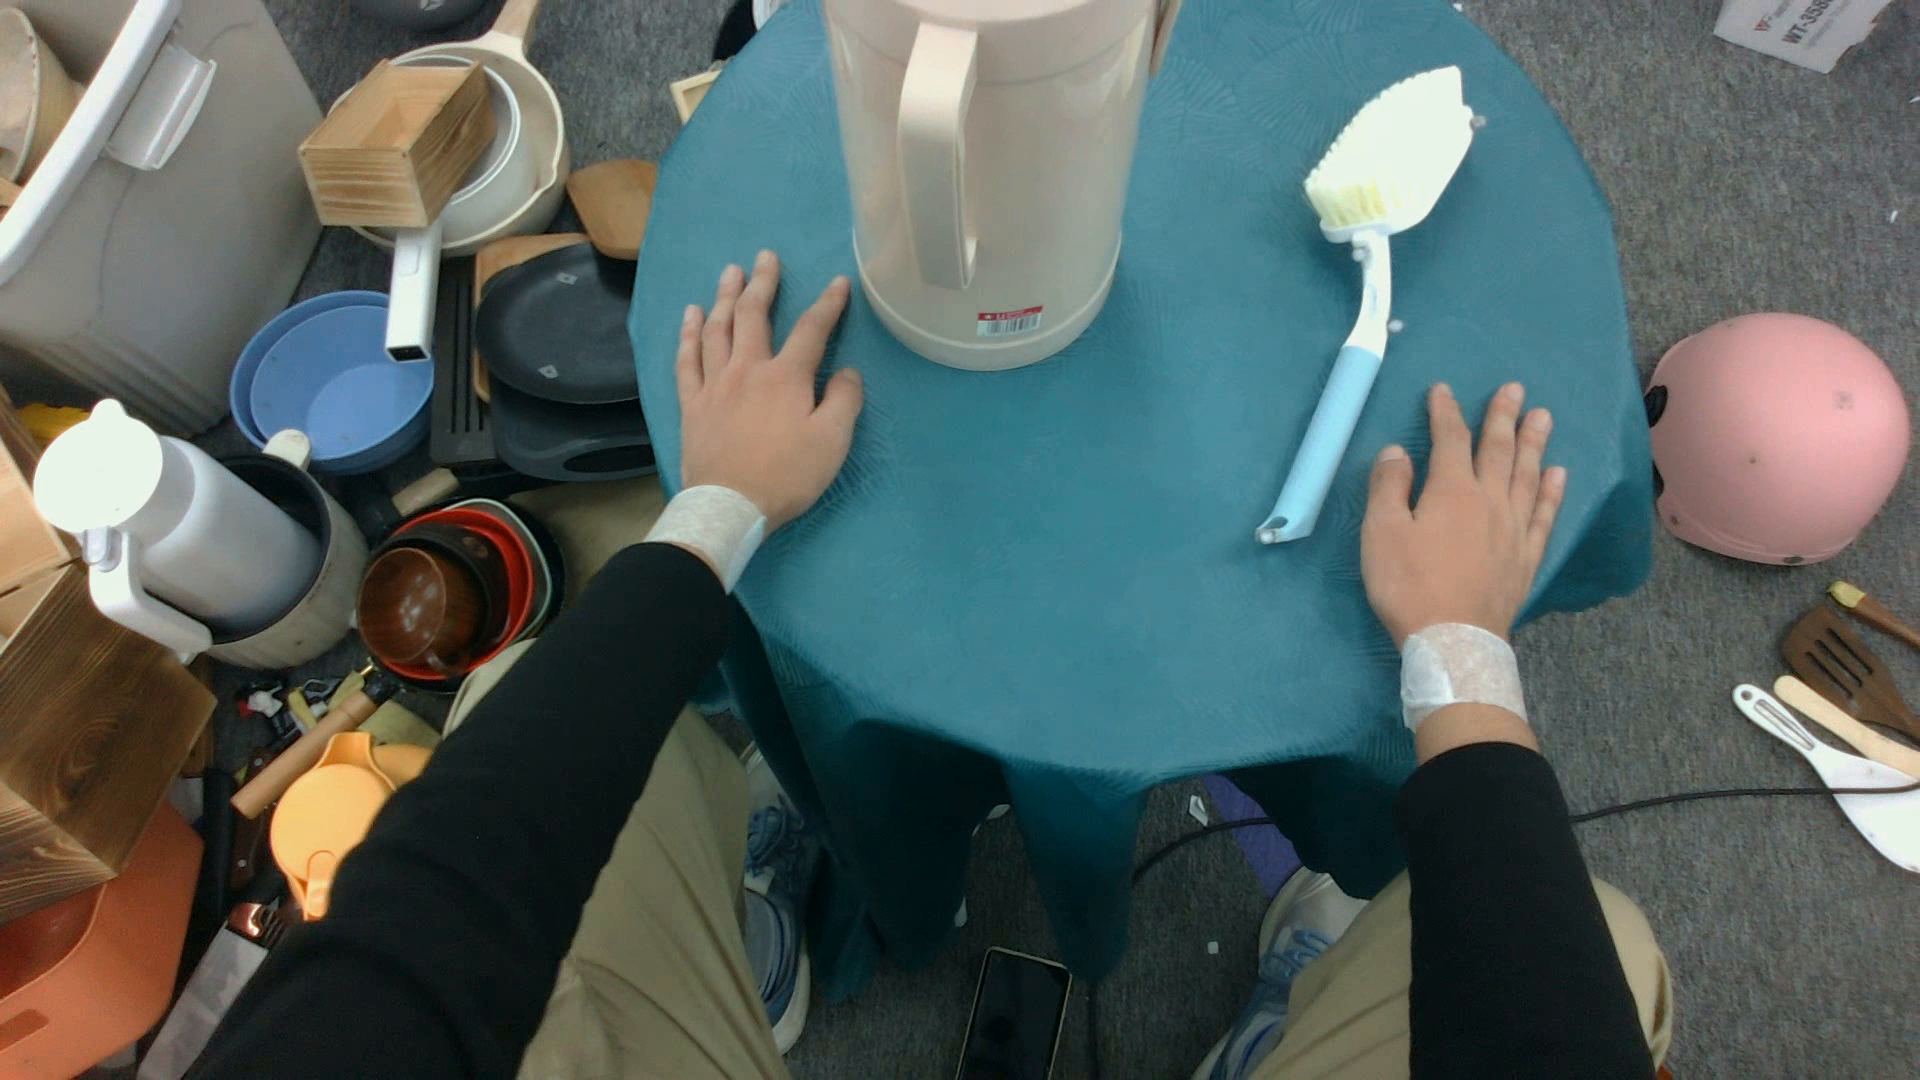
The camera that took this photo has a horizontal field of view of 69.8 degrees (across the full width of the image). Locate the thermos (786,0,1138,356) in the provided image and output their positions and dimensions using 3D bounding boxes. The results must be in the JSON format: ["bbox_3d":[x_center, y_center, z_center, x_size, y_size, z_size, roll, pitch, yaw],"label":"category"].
[{"bbox_3d":[-0.008,-0.234,0.653,0.175,0.405,0.207,12,71,2],"label":"thermos"}]

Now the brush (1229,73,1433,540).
[{"bbox_3d":[0.203,-0.152,0.792,0.084,0.083,0.326,25,70,2],"label":"brush"}]
